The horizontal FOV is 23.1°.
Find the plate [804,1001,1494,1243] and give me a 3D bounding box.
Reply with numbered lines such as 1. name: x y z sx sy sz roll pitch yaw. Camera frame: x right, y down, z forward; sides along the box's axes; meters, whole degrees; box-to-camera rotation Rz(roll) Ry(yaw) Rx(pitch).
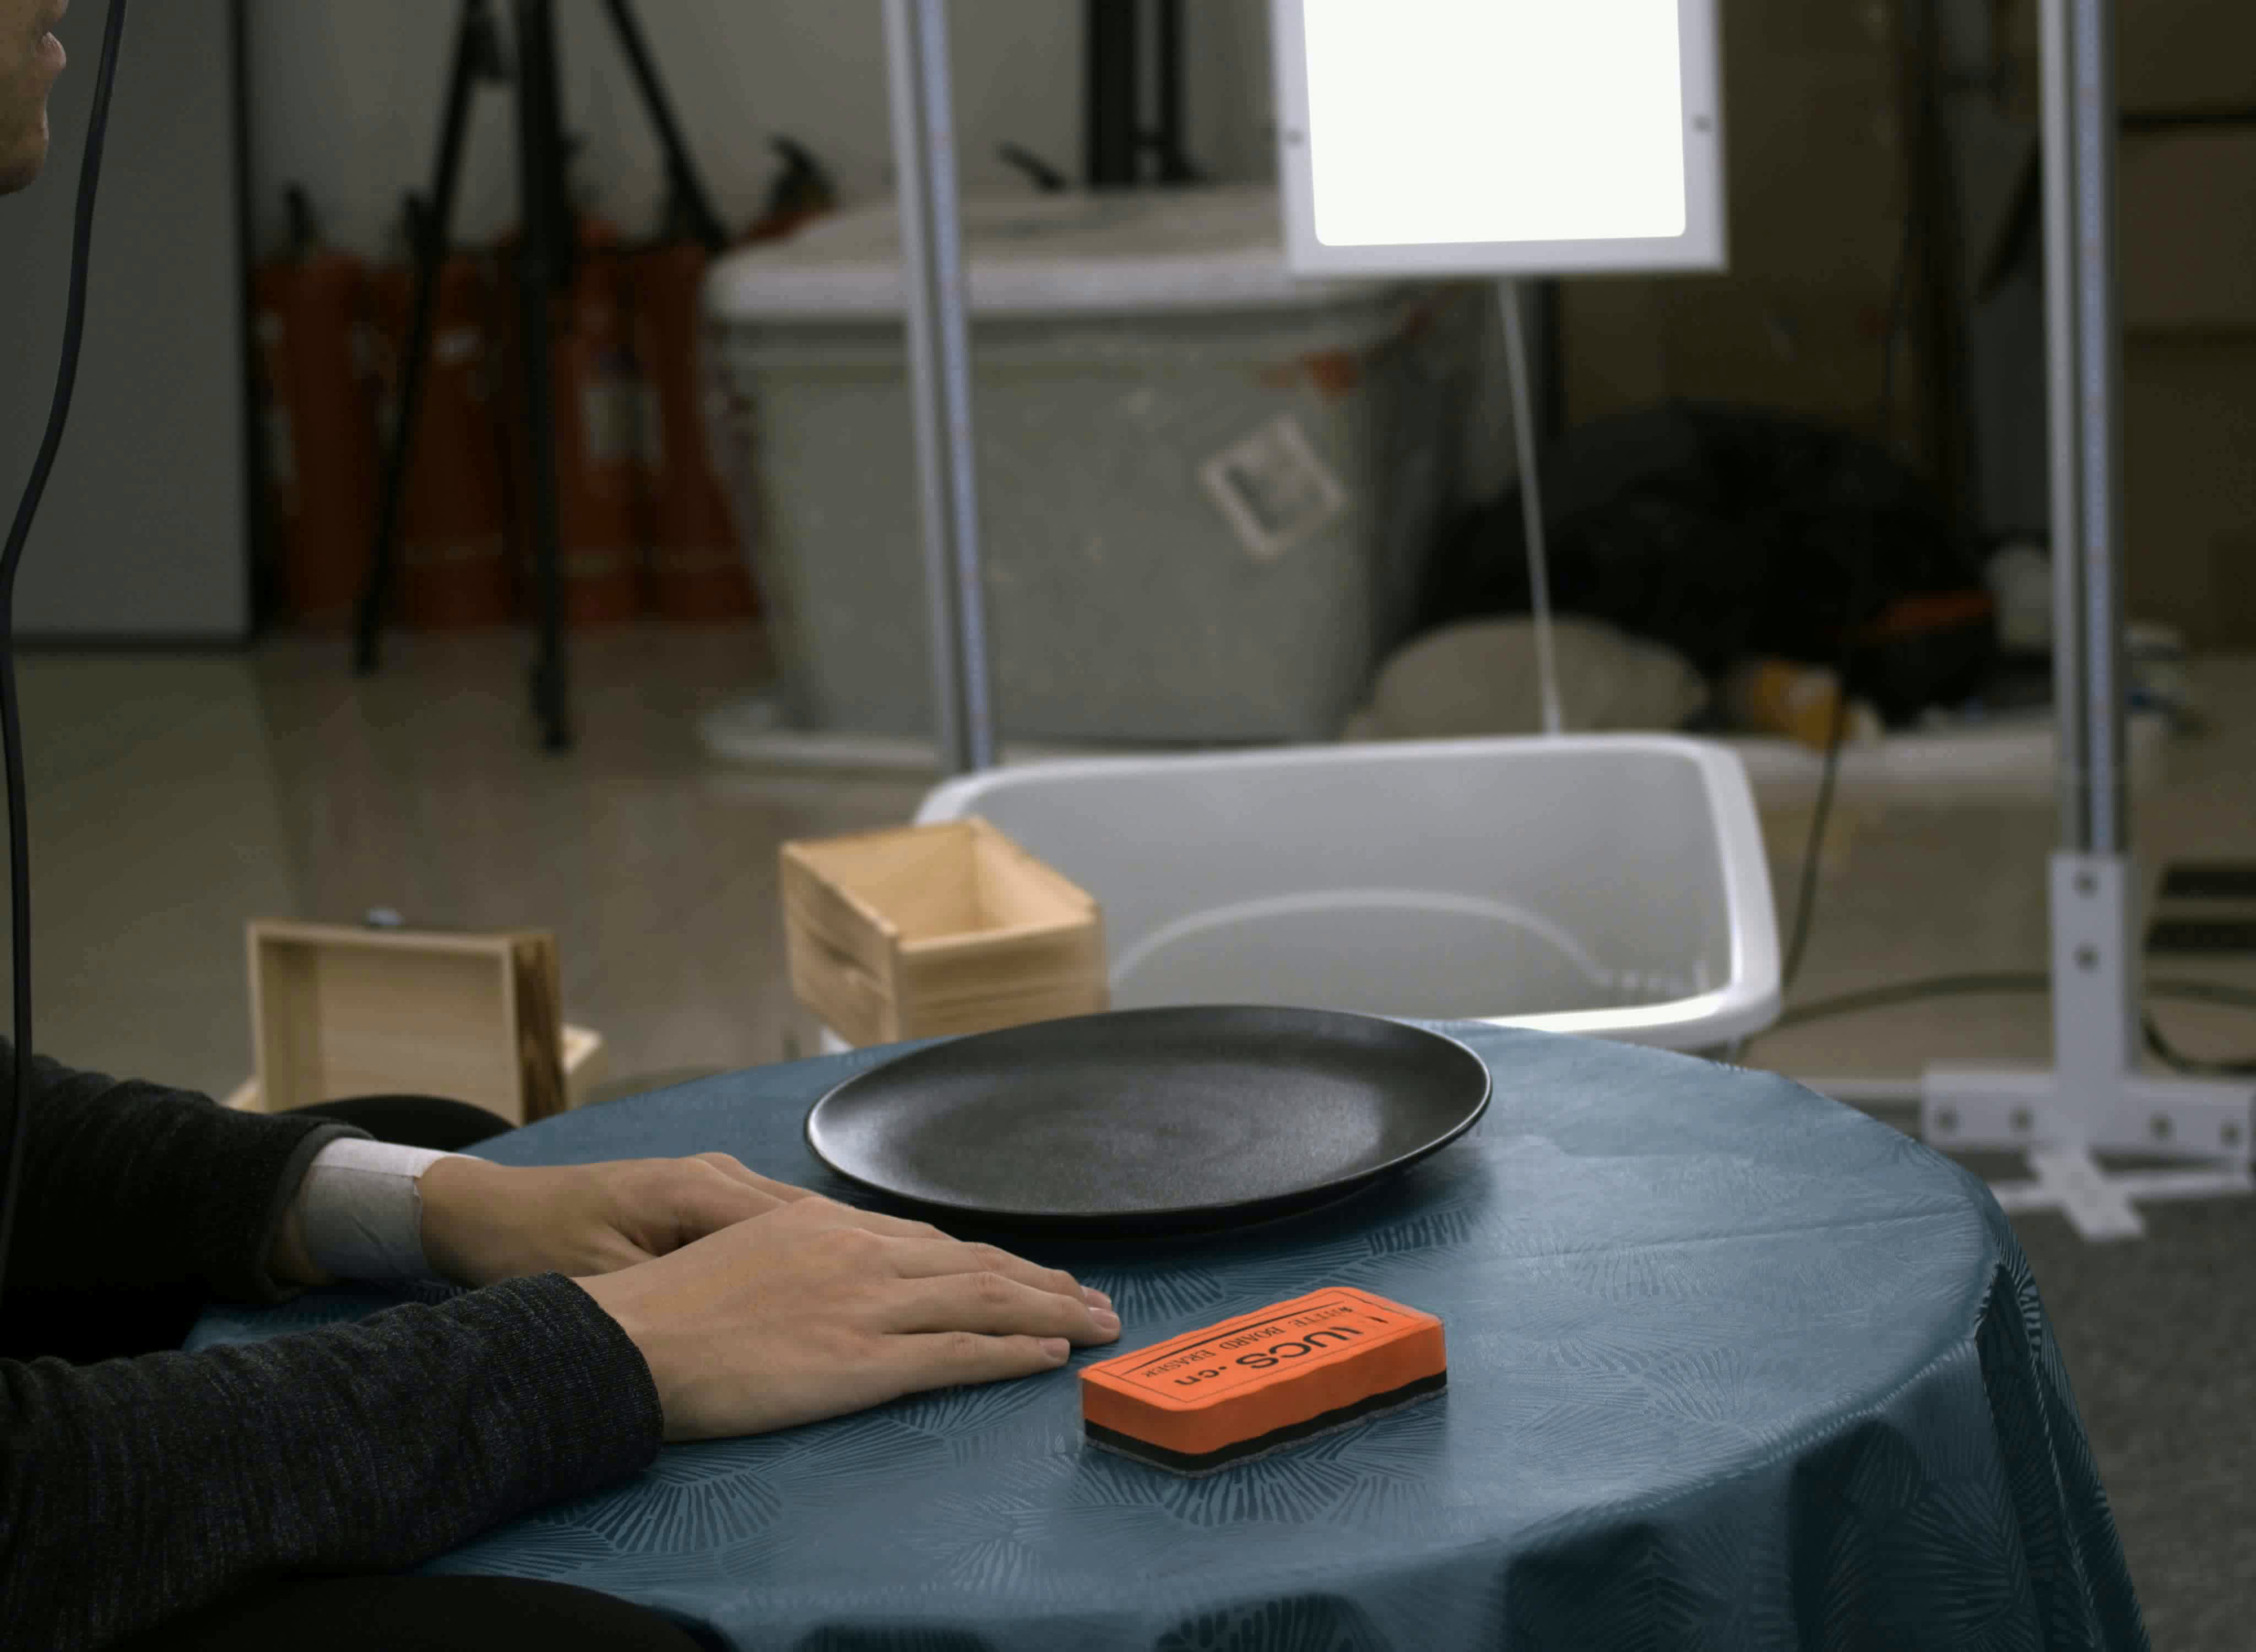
1. plate: 0.008 0.106 1.929 0.244 0.023 0.244 -5 14 0

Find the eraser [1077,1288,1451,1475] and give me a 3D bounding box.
1. eraser: 0.042 0.167 1.666 0.105 0.023 0.060 -14 15 -33
